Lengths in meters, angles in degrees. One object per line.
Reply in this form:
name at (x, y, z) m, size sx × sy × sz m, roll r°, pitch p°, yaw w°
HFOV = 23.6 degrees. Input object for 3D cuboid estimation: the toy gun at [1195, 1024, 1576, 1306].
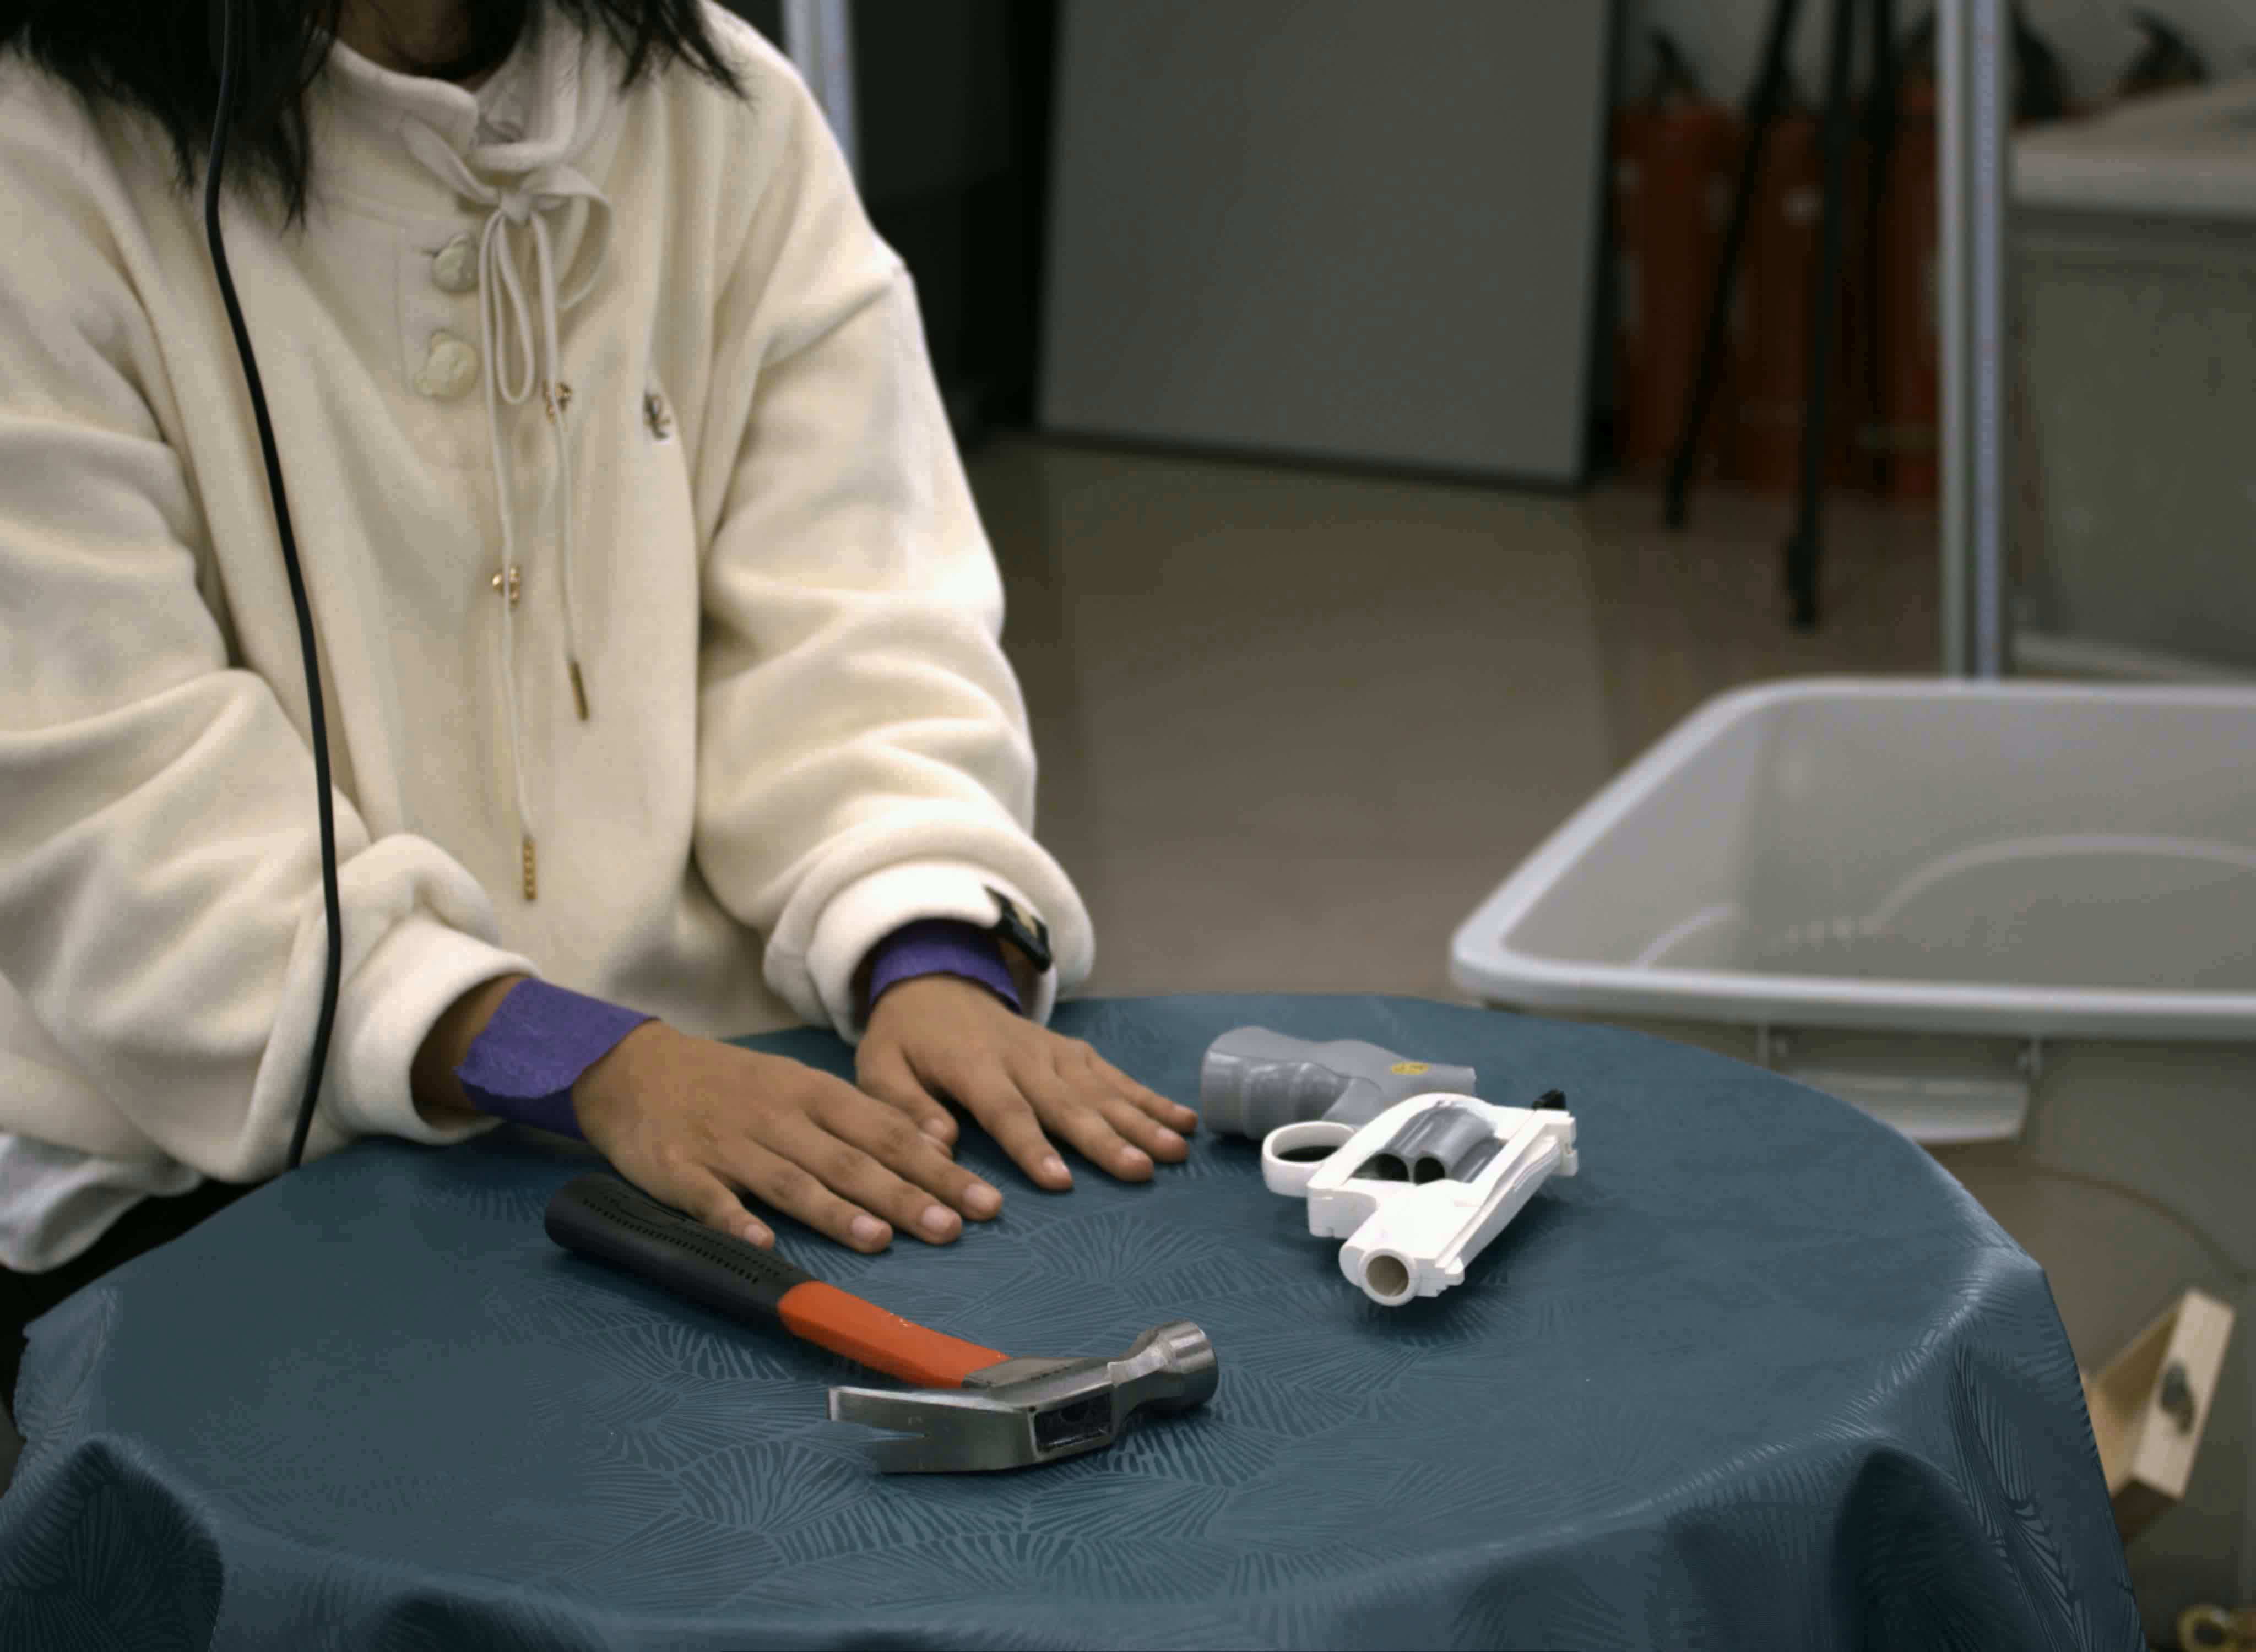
toy gun at (0.070, 0.107, 1.725) m, size 0.141 × 0.039 × 0.207 m, roll 2°, pitch 15°, yaw 19°

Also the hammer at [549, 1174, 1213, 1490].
hammer at (-0.097, 0.146, 1.639) m, size 0.108 × 0.026 × 0.280 m, roll -24°, pitch 22°, yaw -30°
